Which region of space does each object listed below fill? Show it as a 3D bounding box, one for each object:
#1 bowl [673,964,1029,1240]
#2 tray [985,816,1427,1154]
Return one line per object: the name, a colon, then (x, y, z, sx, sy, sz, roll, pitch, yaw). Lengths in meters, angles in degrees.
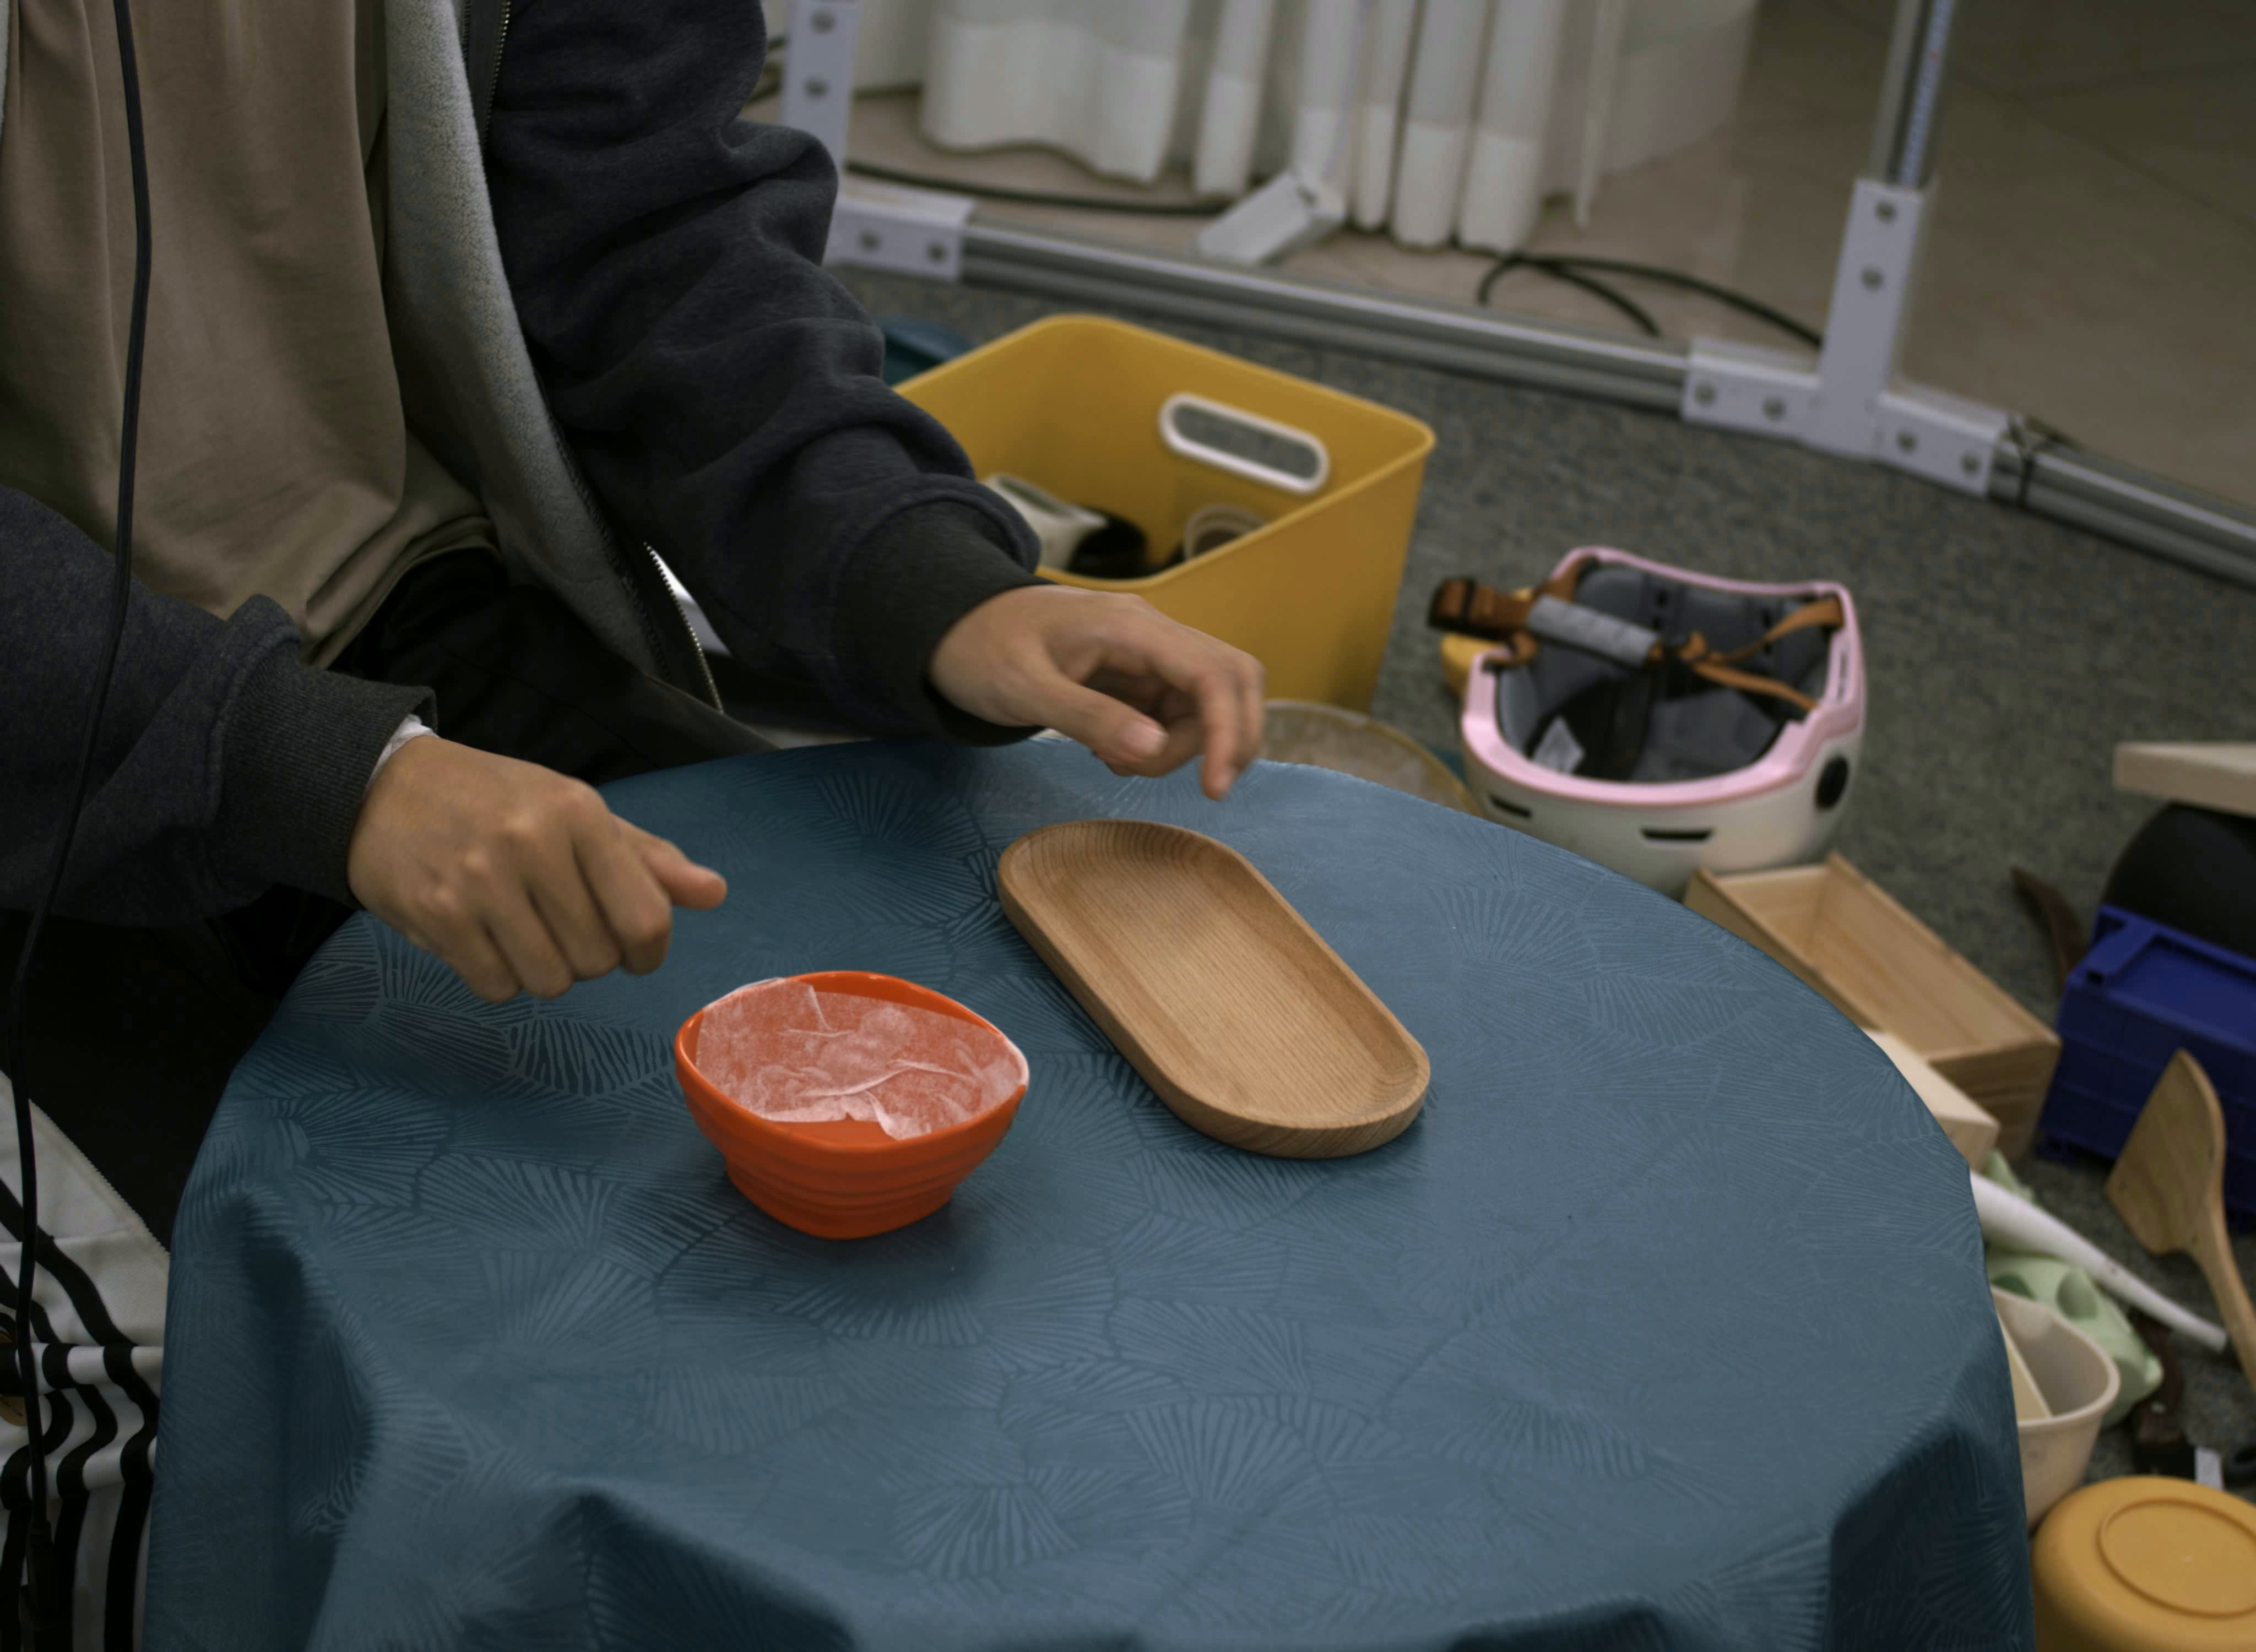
bowl: (-0.094, 0.096, 1.775, 0.118, 0.051, 0.119, 5, 28, -3)
tray: (0.026, 0.055, 1.924, 0.101, 0.020, 0.233, -6, 29, -26)
